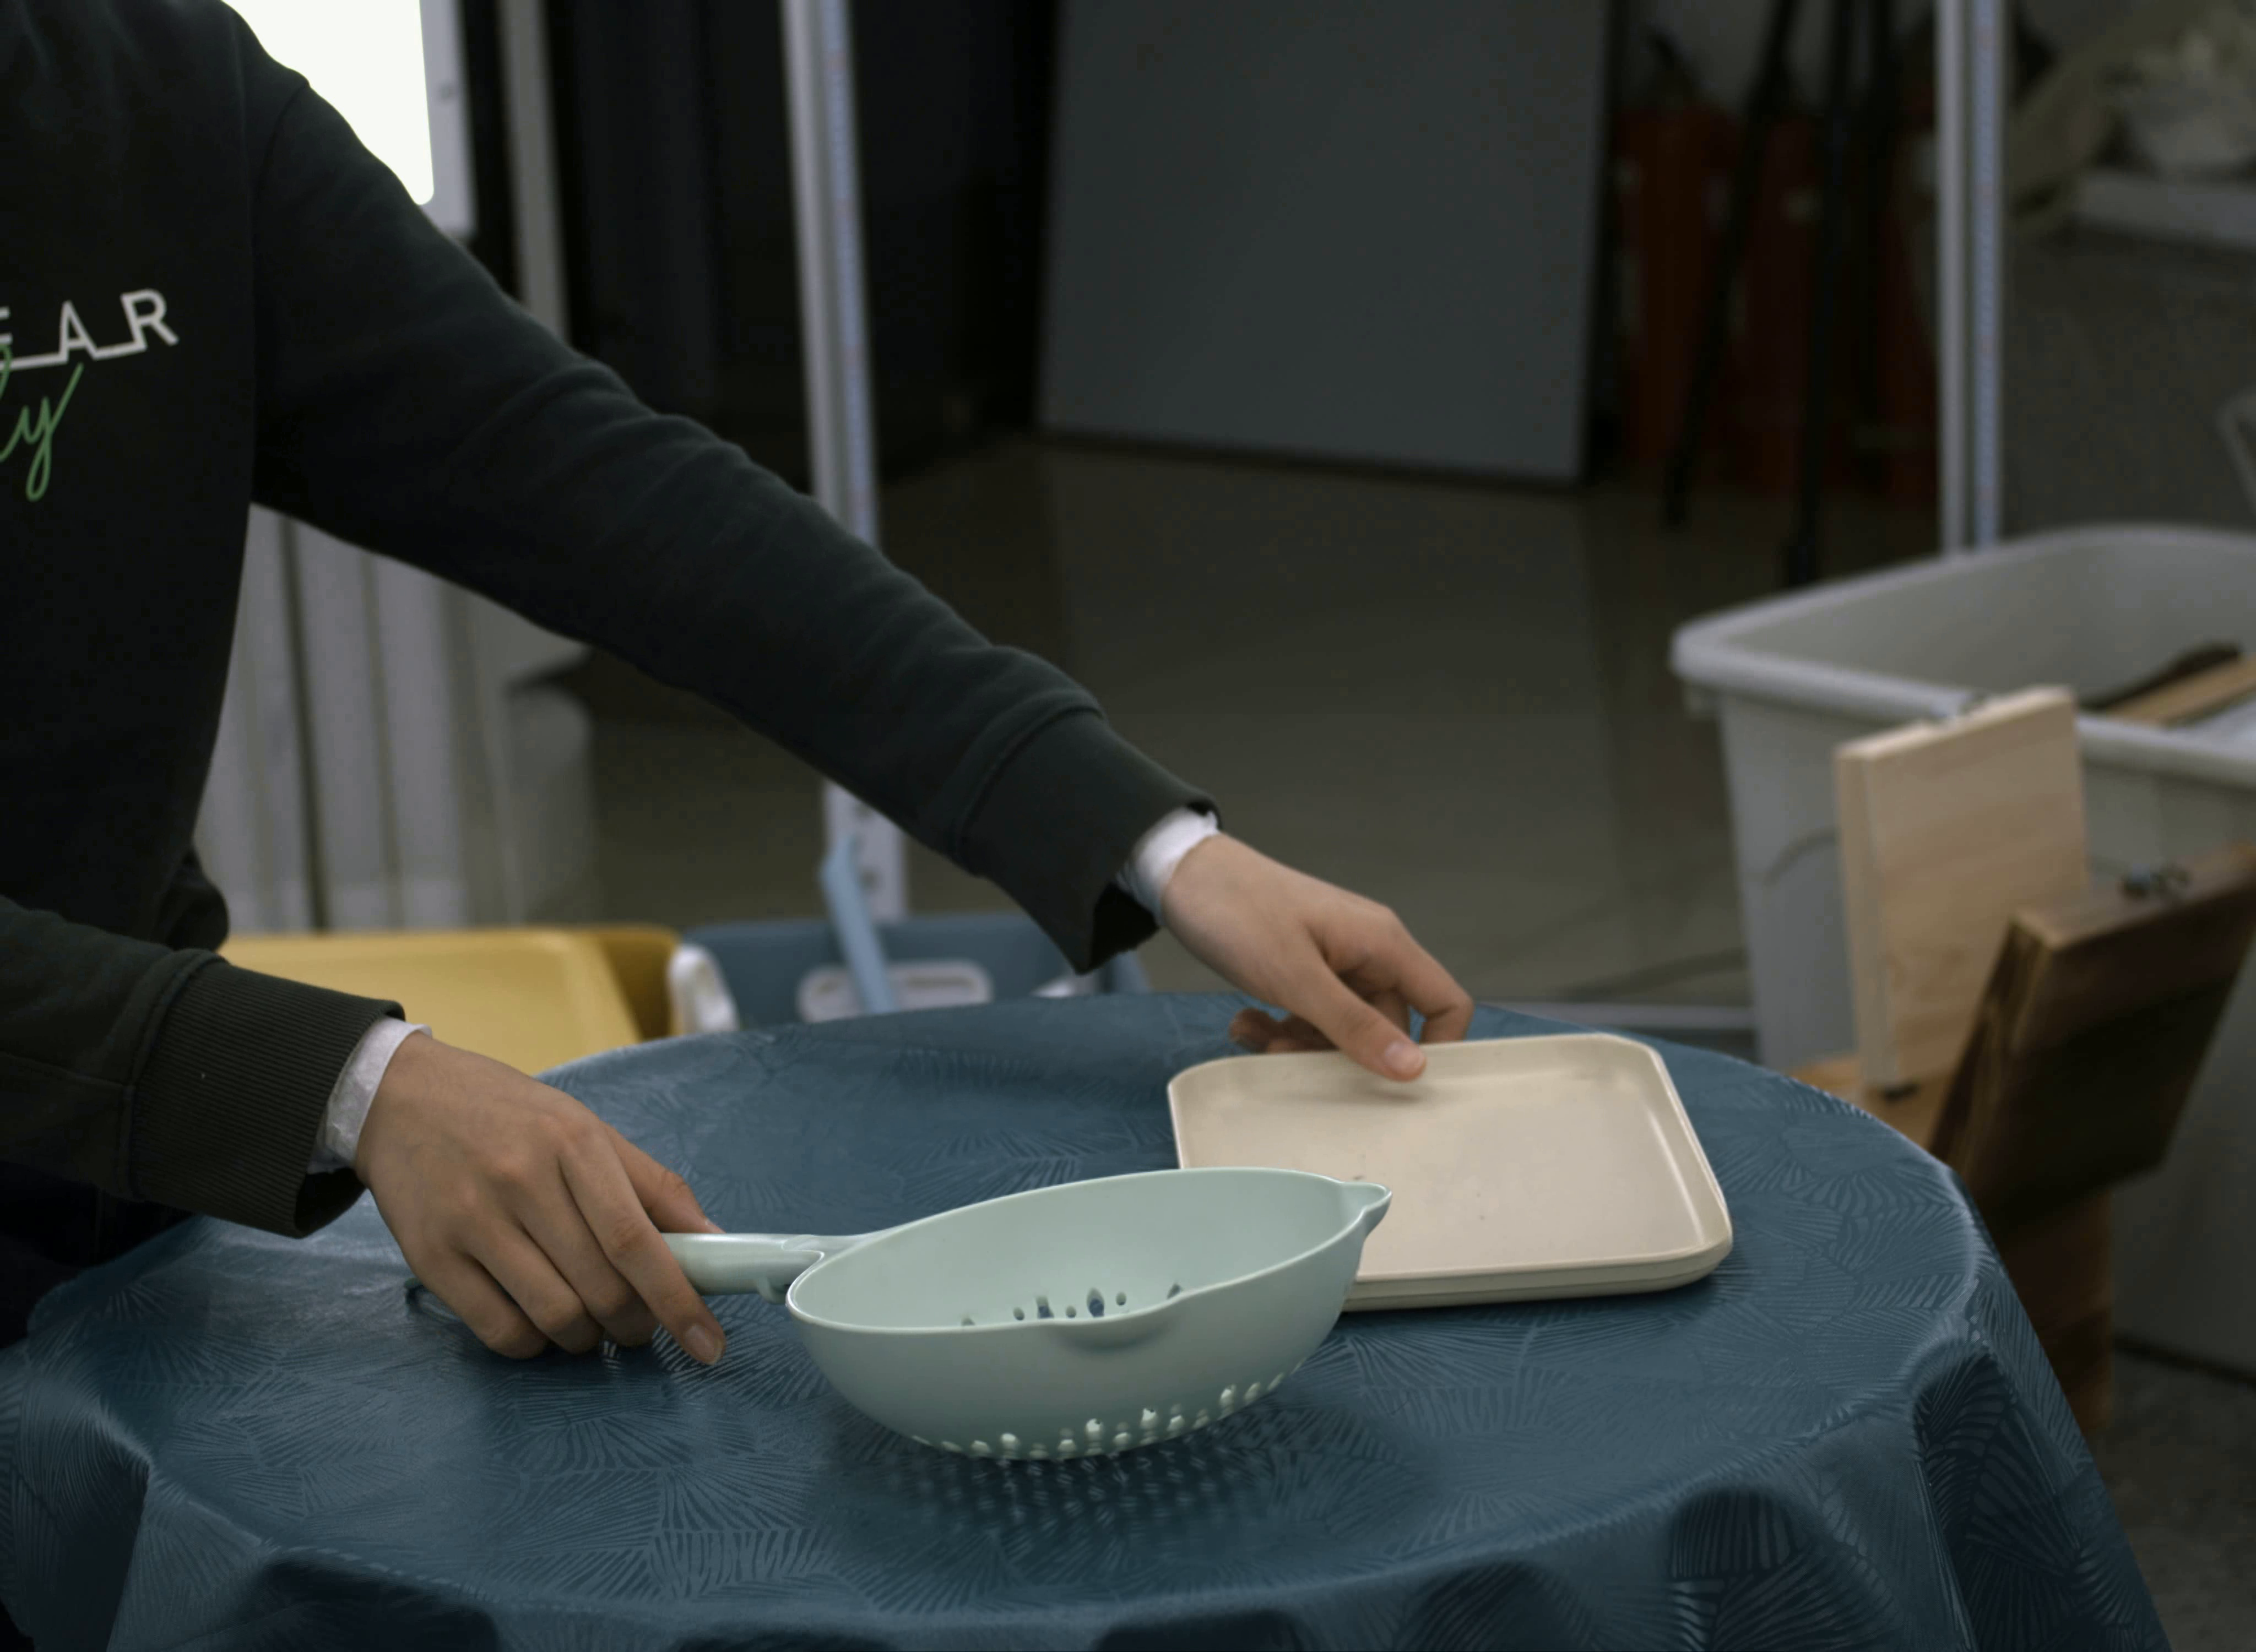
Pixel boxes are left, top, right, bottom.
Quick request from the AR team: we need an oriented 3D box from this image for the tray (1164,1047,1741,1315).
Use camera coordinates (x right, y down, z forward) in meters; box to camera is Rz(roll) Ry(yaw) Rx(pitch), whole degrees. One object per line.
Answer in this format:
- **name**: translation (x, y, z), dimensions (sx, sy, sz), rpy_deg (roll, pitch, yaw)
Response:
- **tray**: translation (0.101, 0.114, 1.739), dimensions (0.169, 0.017, 0.240), rpy_deg (-4, 13, -1)

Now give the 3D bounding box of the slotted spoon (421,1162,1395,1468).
- **slotted spoon**: translation (-0.086, 0.136, 1.603), dimensions (0.361, 0.076, 0.166), rpy_deg (7, 16, 39)
